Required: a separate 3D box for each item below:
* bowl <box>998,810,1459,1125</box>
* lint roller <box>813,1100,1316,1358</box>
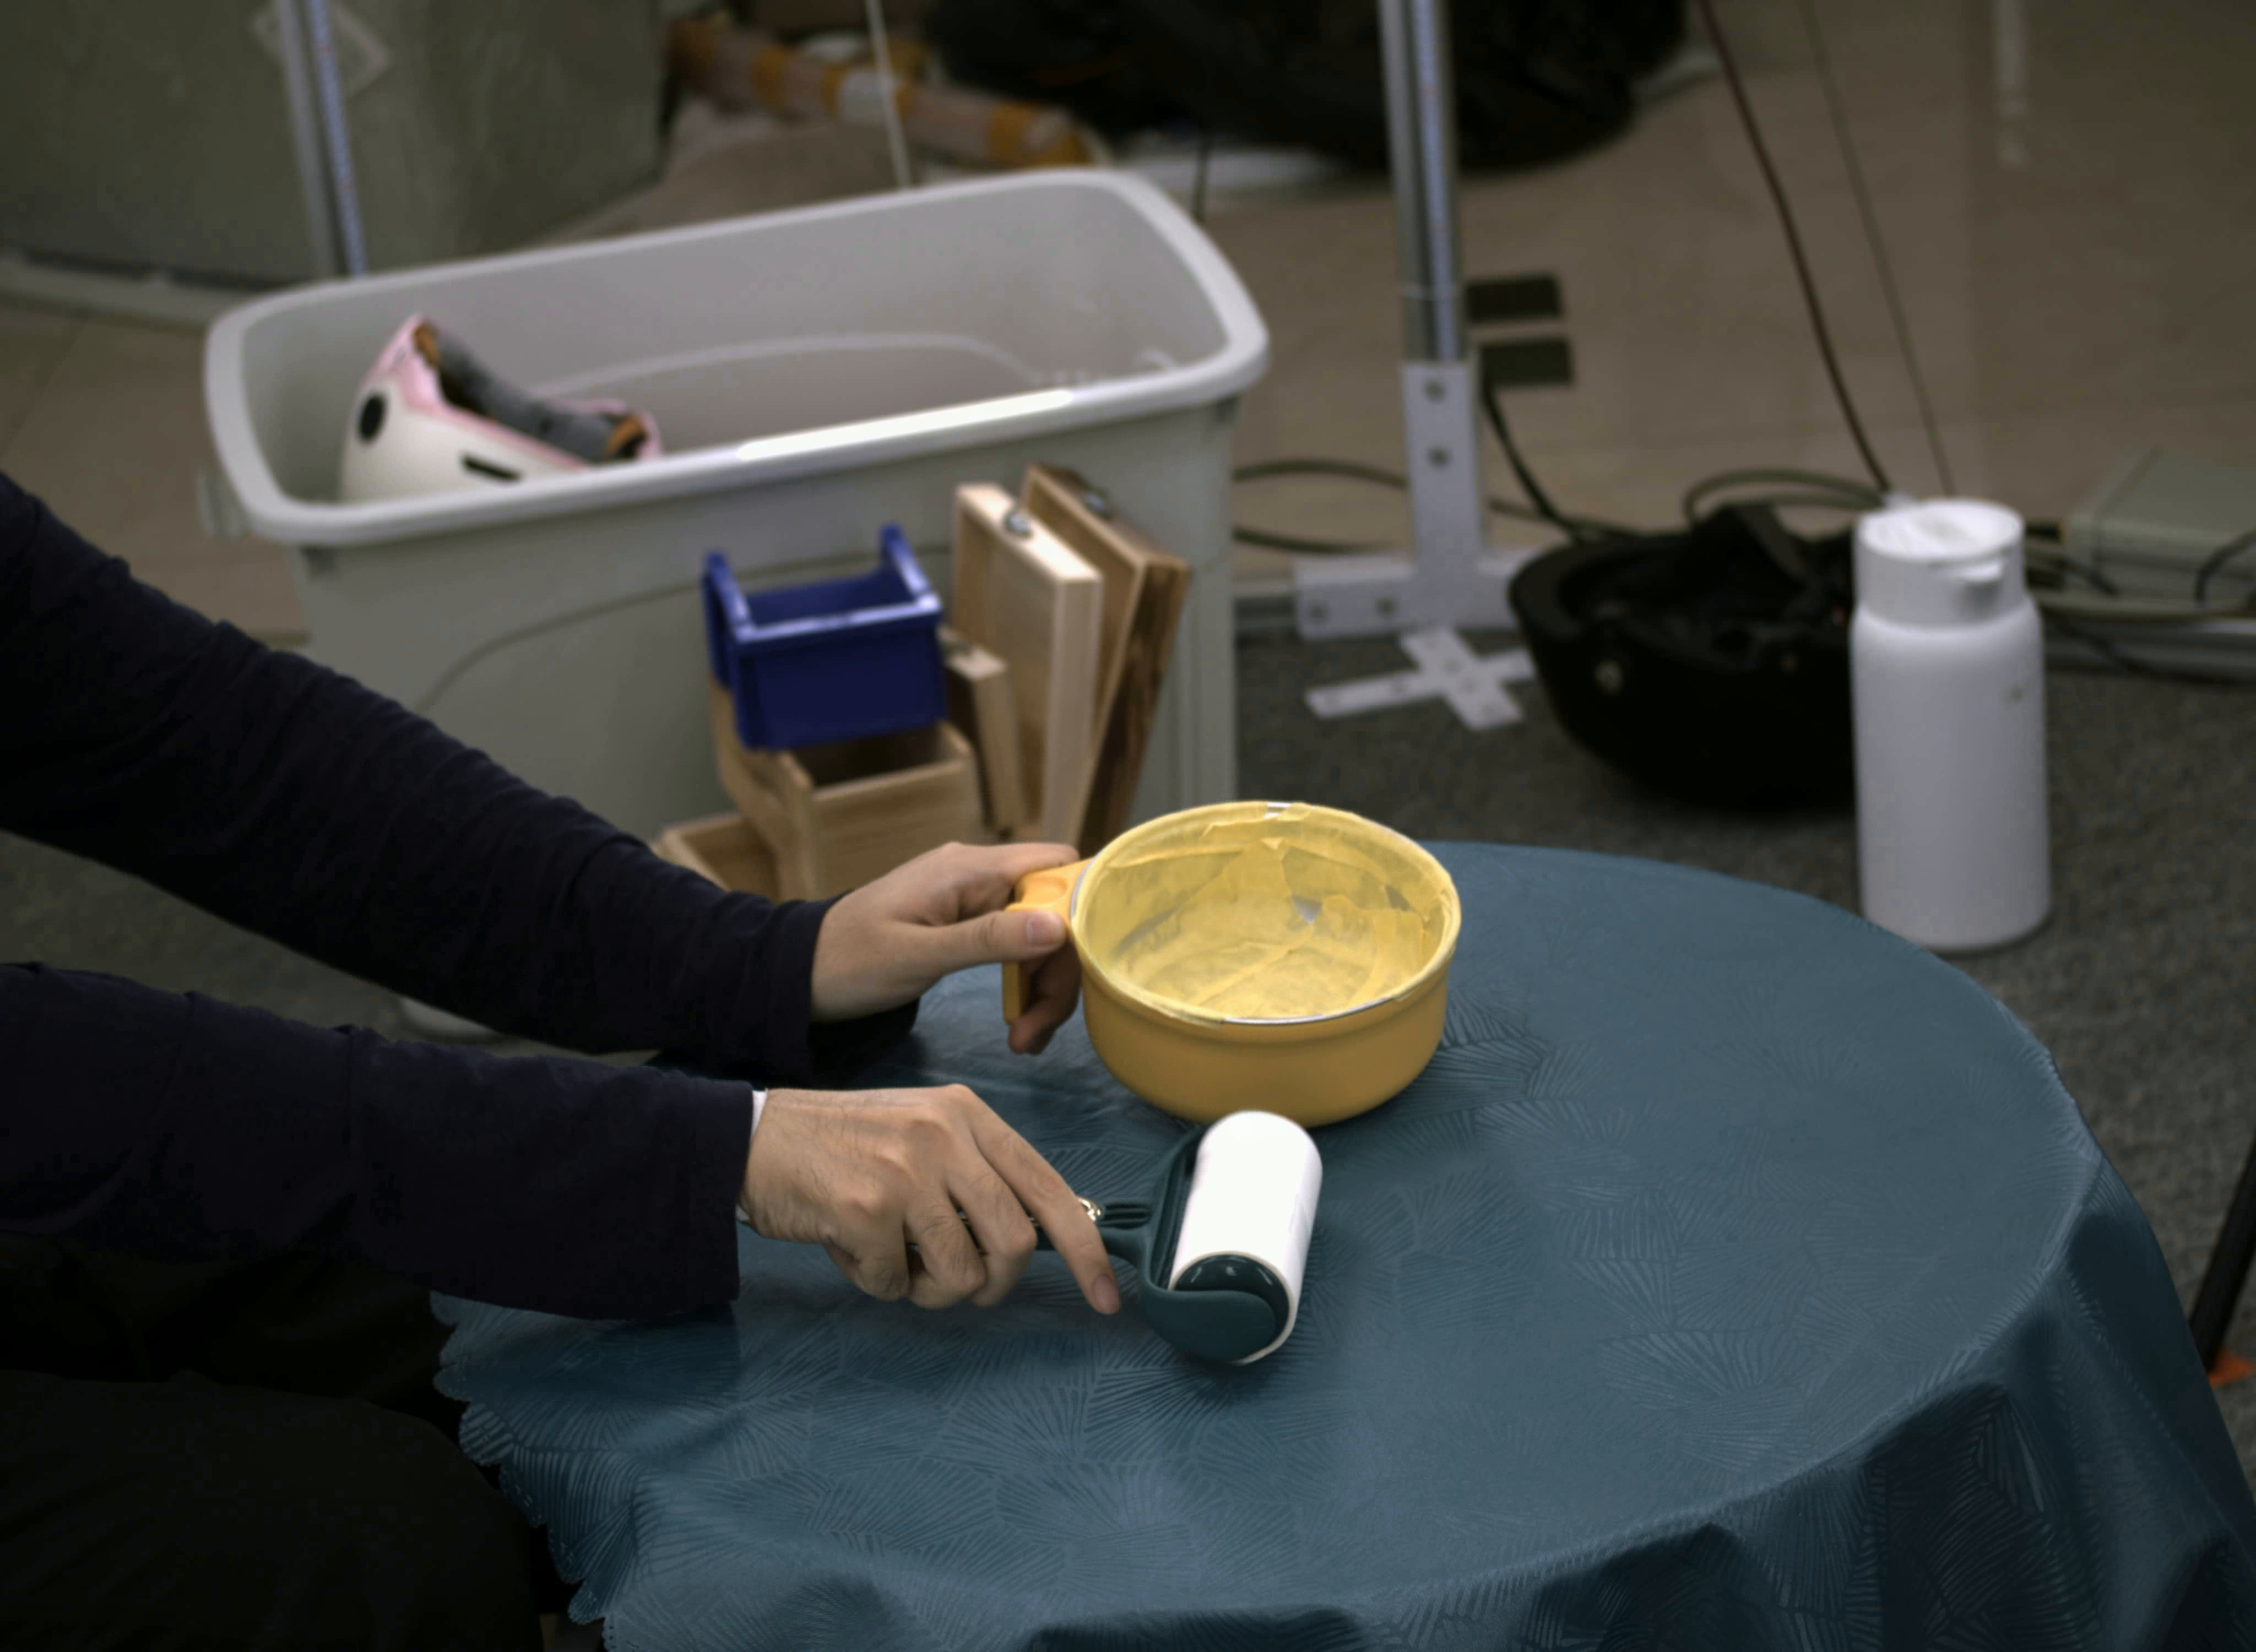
[{"bbox_3d":[0.039,0.057,2.218,0.179,0.076,0.150,4,35,5],"label":"bowl"},{"bbox_3d":[-0.025,0.139,2.062,0.180,0.049,0.132,6,30,4],"label":"lint roller"}]
